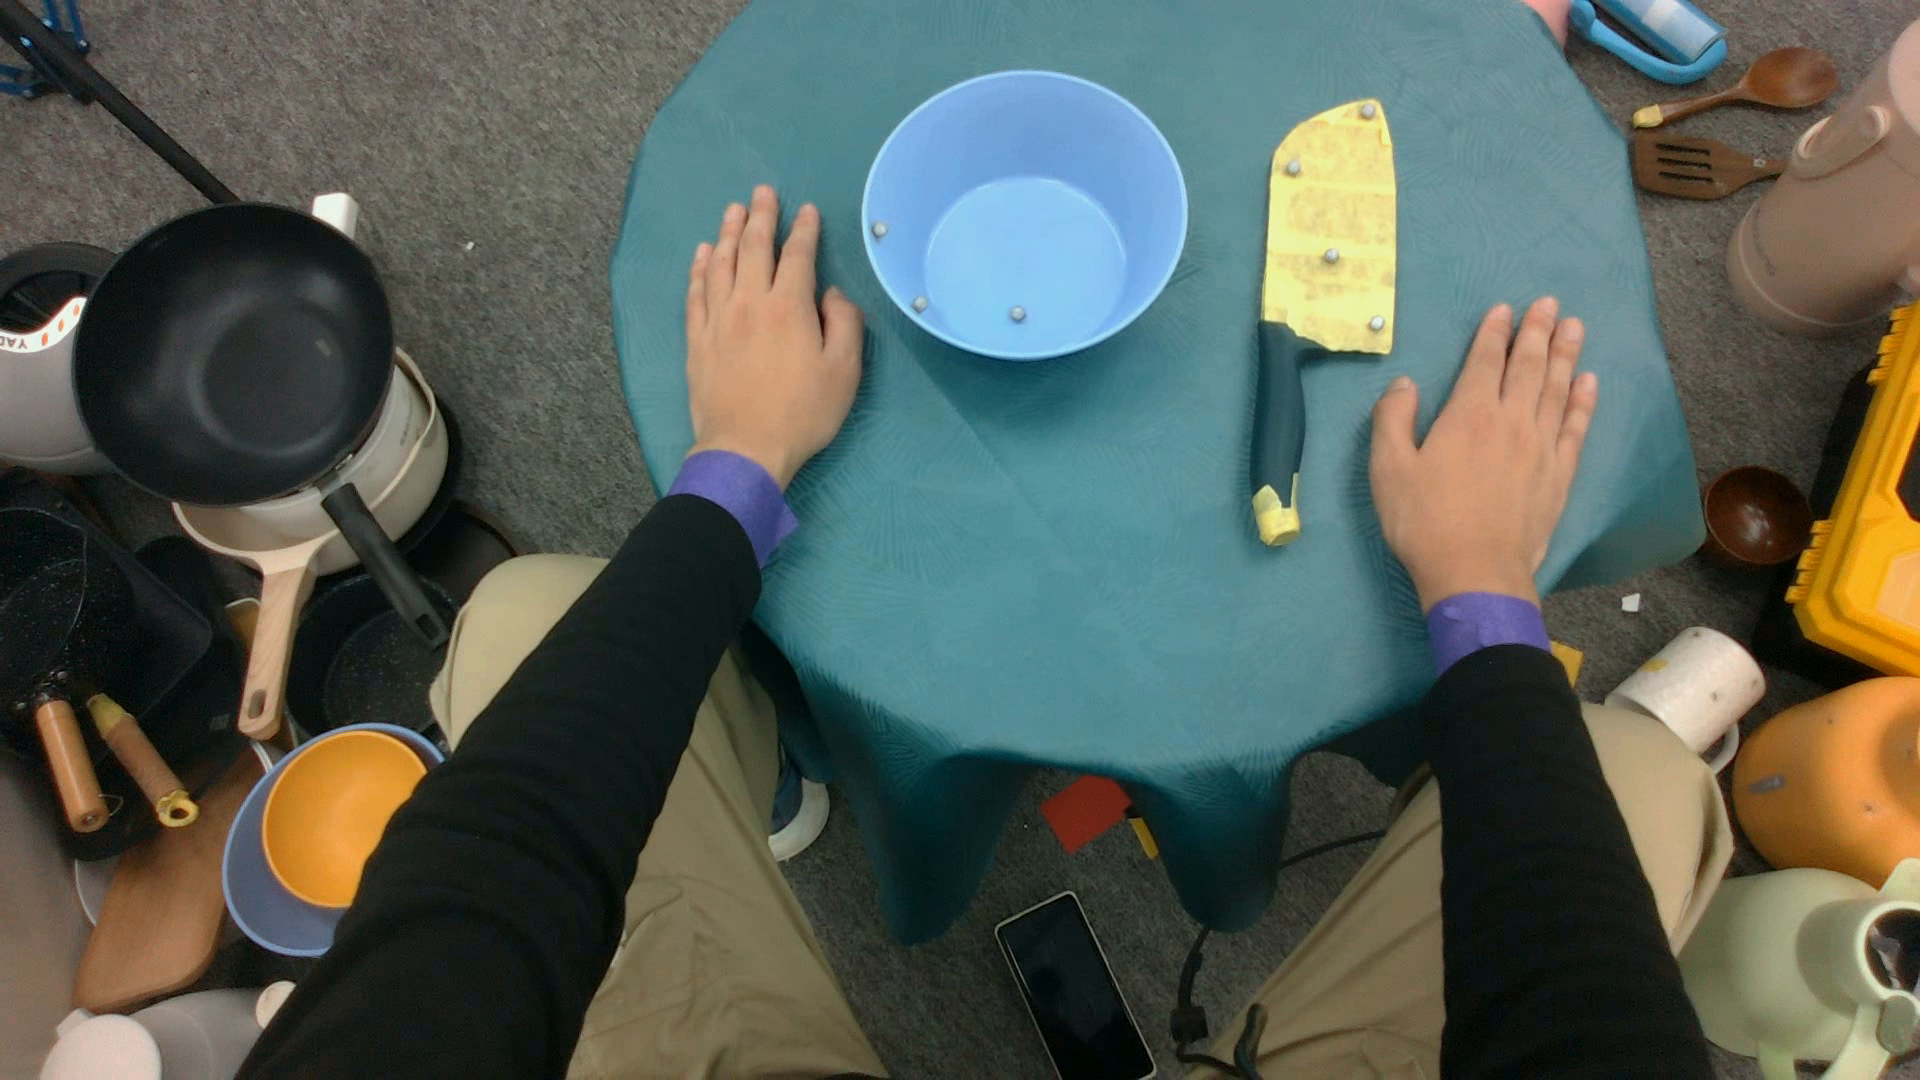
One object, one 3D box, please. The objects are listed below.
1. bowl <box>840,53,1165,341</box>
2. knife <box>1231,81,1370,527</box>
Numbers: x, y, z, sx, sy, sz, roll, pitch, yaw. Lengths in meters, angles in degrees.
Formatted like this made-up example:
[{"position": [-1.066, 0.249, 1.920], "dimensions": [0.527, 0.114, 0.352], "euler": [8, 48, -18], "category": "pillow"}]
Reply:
[{"position": [0.024, -0.179, 0.773], "dimensions": [0.176, 0.070, 0.176], "euler": [0, 72, 1], "category": "bowl"}, {"position": [0.192, -0.142, 0.782], "dimensions": [0.081, 0.027, 0.290], "euler": [8, 71, 6], "category": "knife"}]
